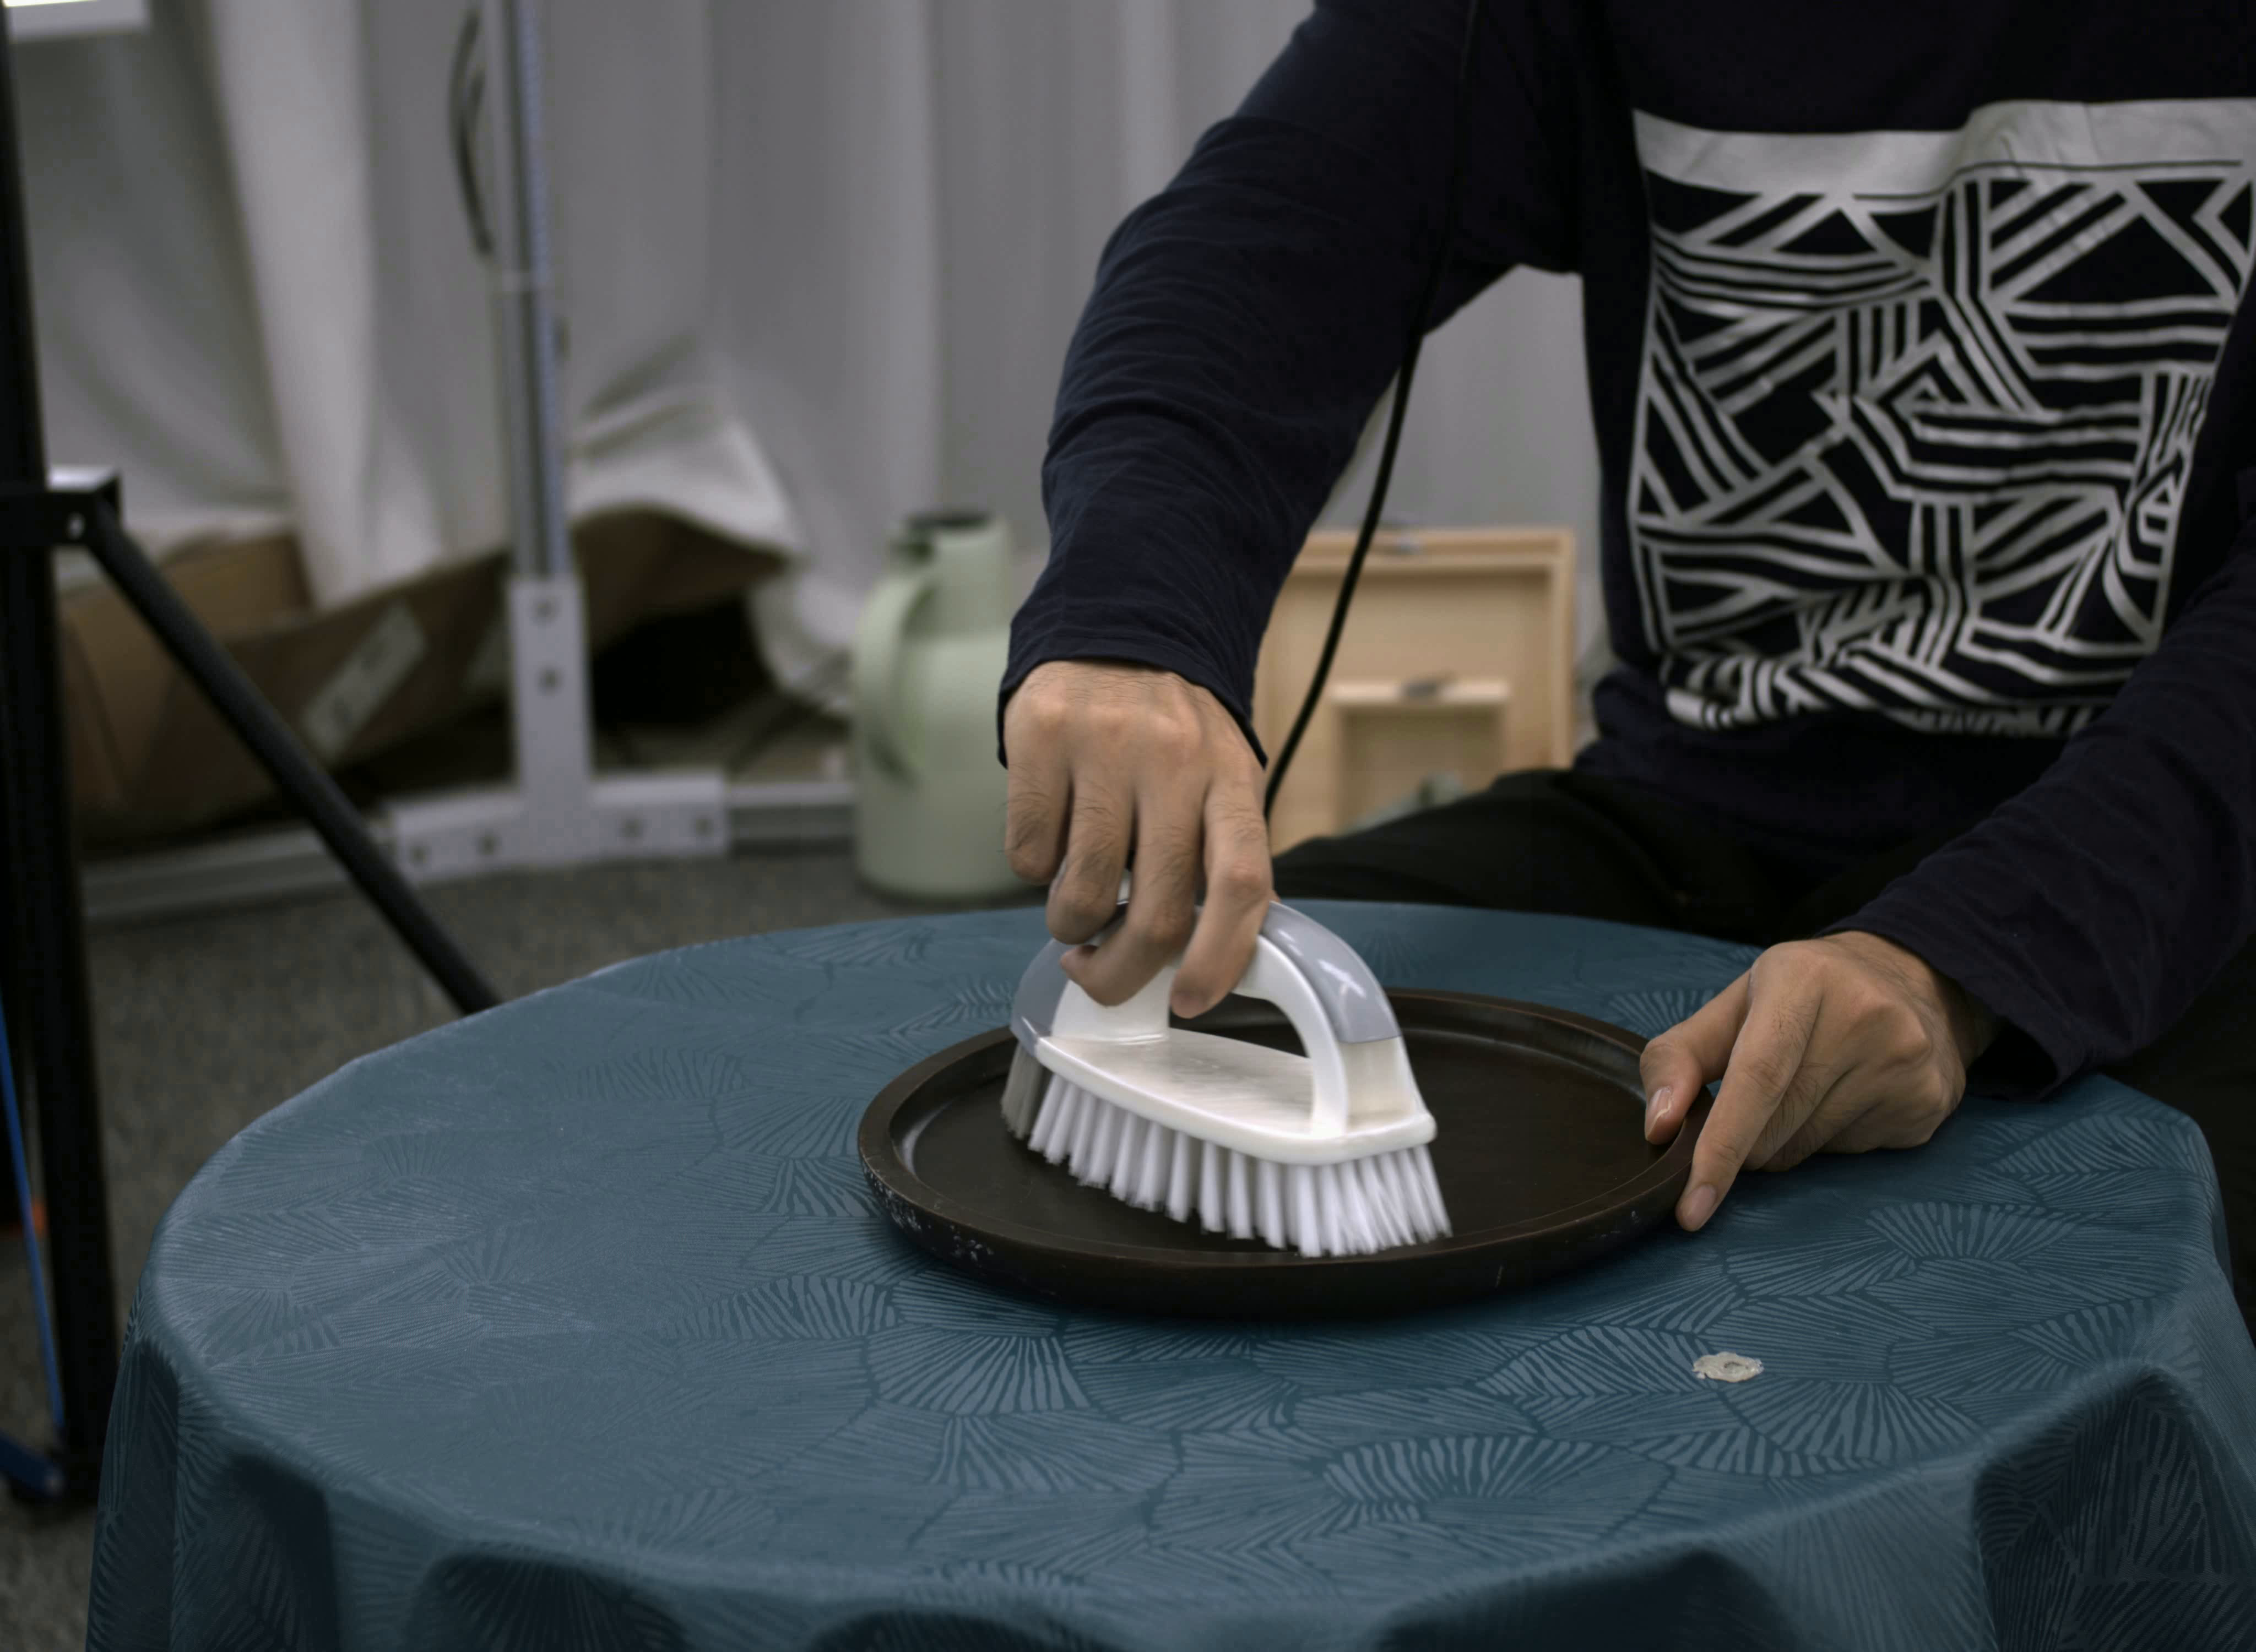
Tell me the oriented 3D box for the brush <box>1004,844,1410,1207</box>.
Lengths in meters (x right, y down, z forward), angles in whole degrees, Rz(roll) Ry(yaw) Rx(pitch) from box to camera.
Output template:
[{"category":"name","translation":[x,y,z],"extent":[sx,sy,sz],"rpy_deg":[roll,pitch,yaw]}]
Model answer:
[{"category":"brush","translation":[0.012,0.051,1.511],"extent":[0.060,0.094,0.179],"rpy_deg":[-8,12,-31]}]

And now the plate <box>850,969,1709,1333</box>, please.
[{"category":"plate","translation":[0.045,0.094,1.560],"extent":[0.253,0.029,0.256],"rpy_deg":[-3,17,0]}]
